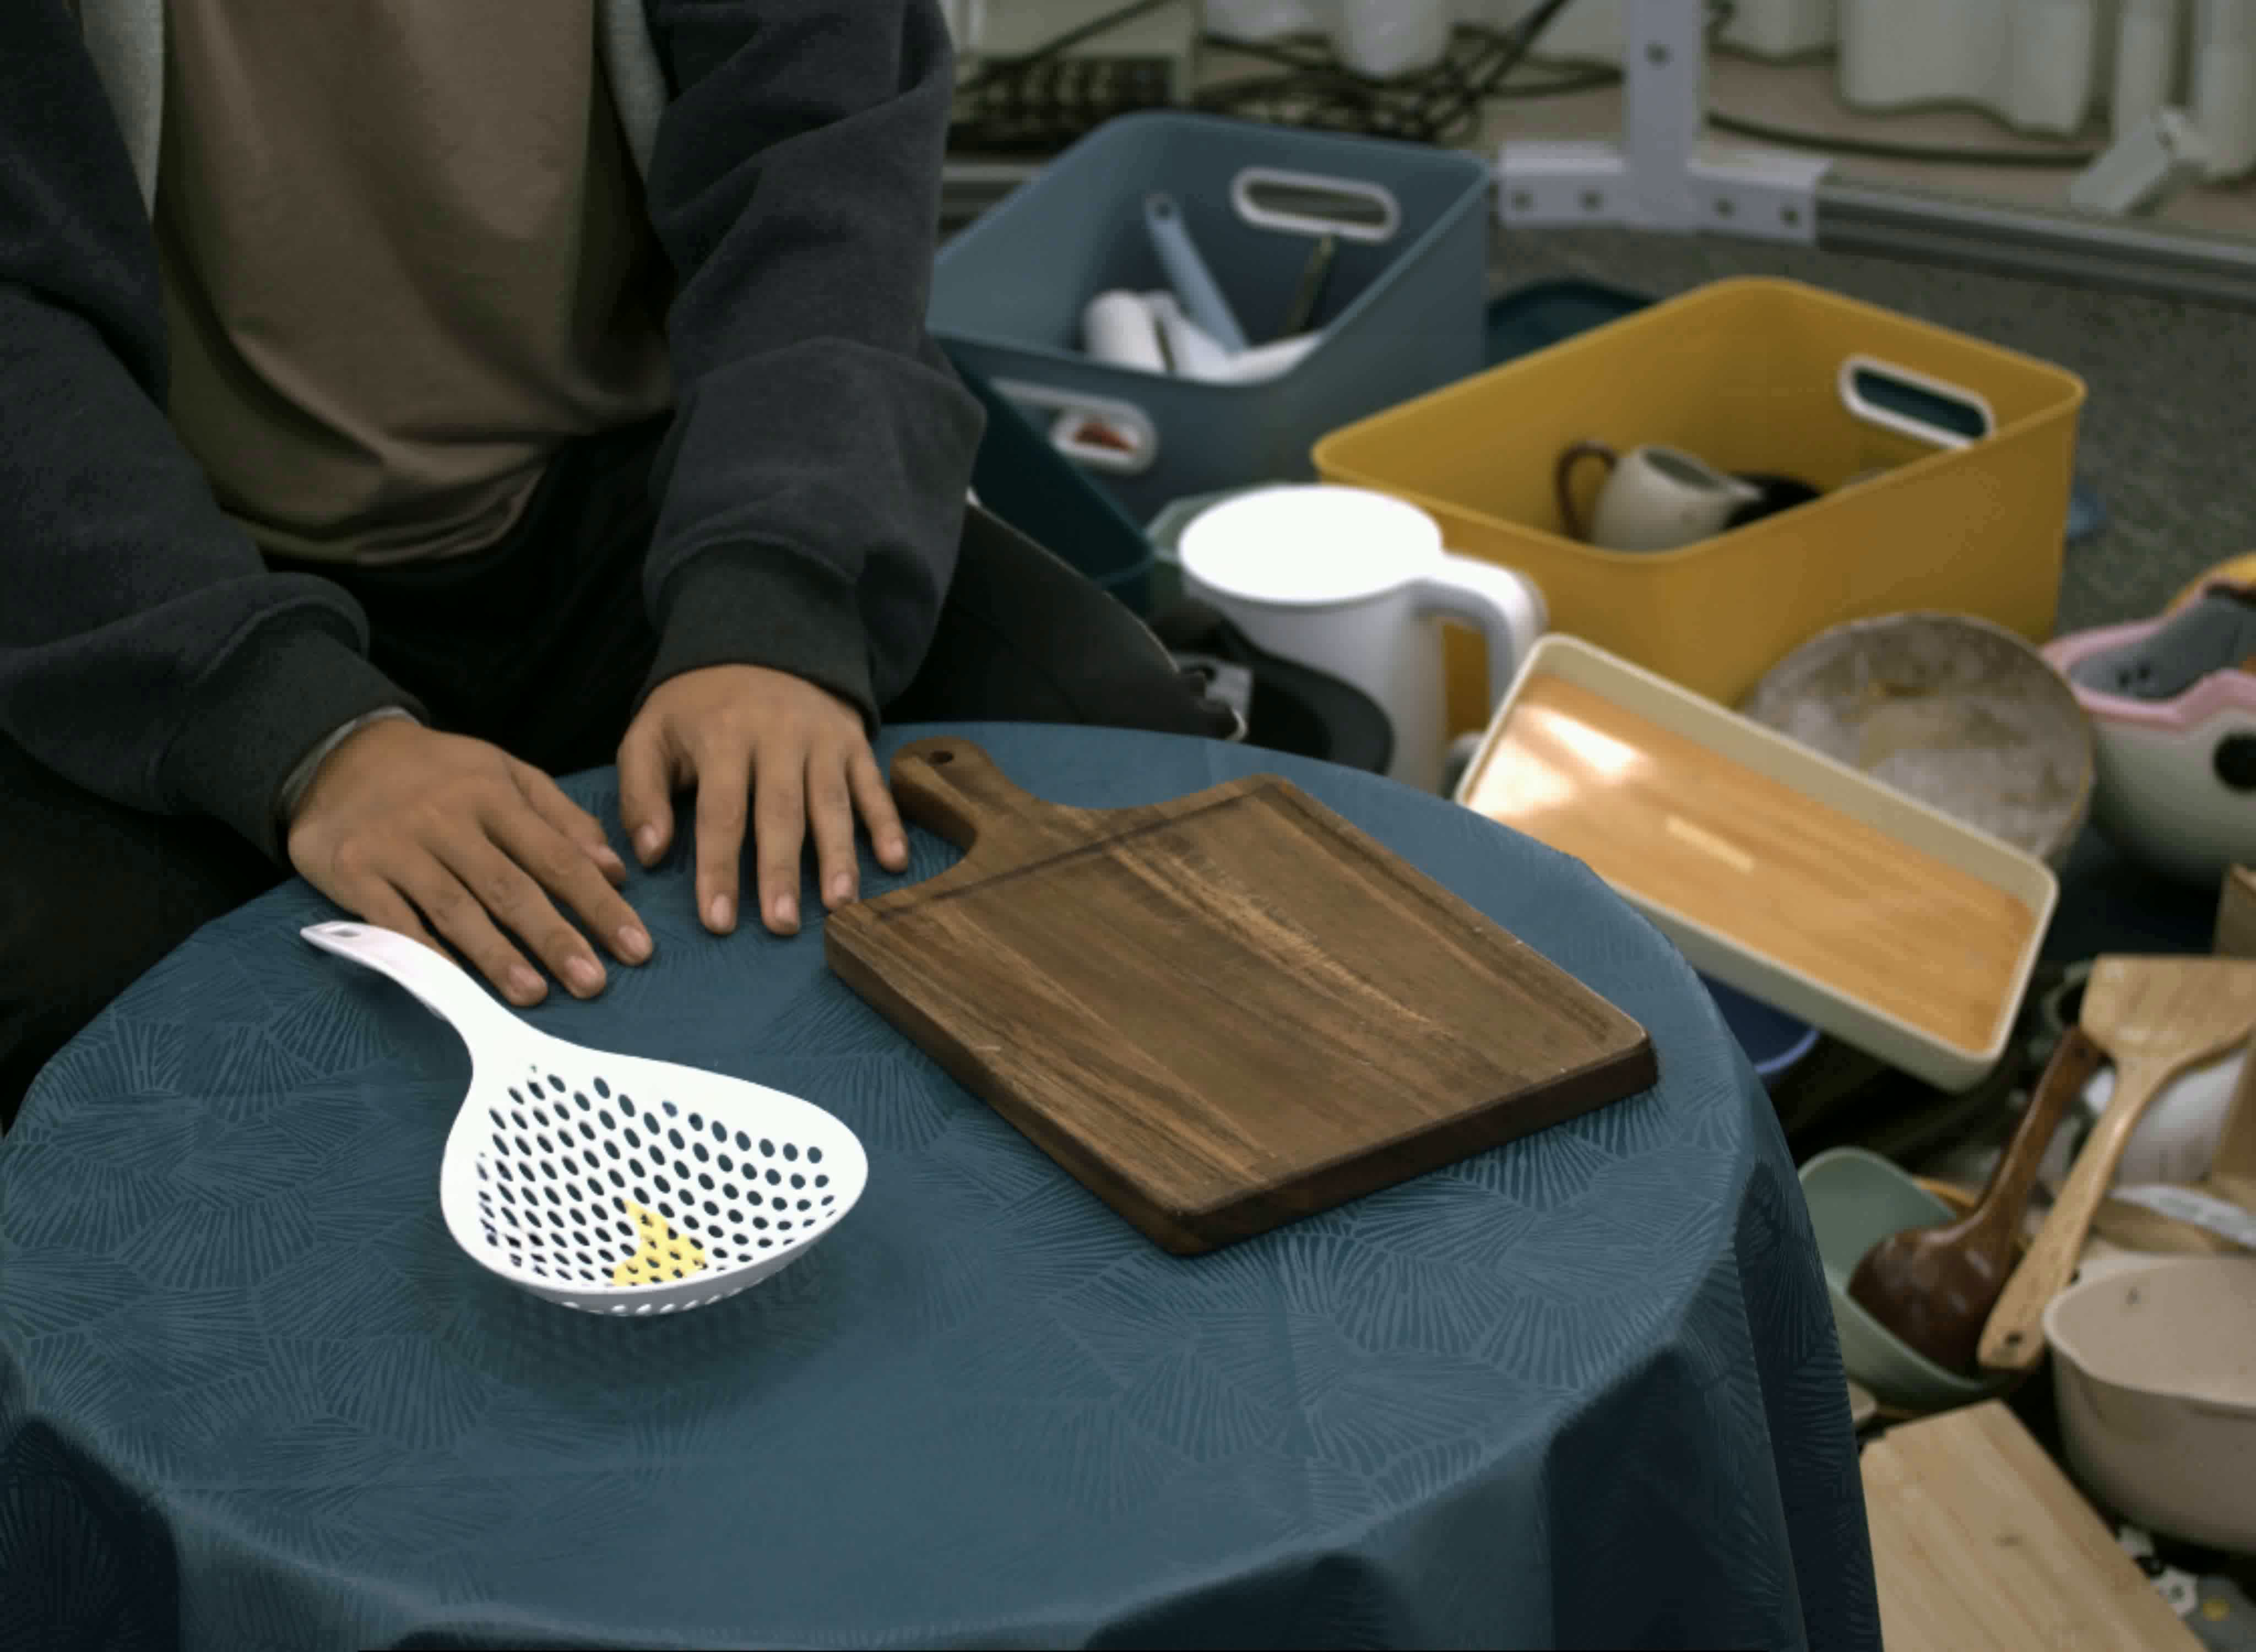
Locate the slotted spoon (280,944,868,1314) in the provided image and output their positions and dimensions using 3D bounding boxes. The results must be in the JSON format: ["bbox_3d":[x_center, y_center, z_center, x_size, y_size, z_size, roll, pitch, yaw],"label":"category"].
[{"bbox_3d":[-0.208,0.089,1.902,0.138,0.050,0.349,-20,32,-25],"label":"slotted spoon"}]

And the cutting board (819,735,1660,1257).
[{"bbox_3d":[0.010,0.041,1.994,0.202,0.023,0.353,-17,31,-27],"label":"cutting board"}]
